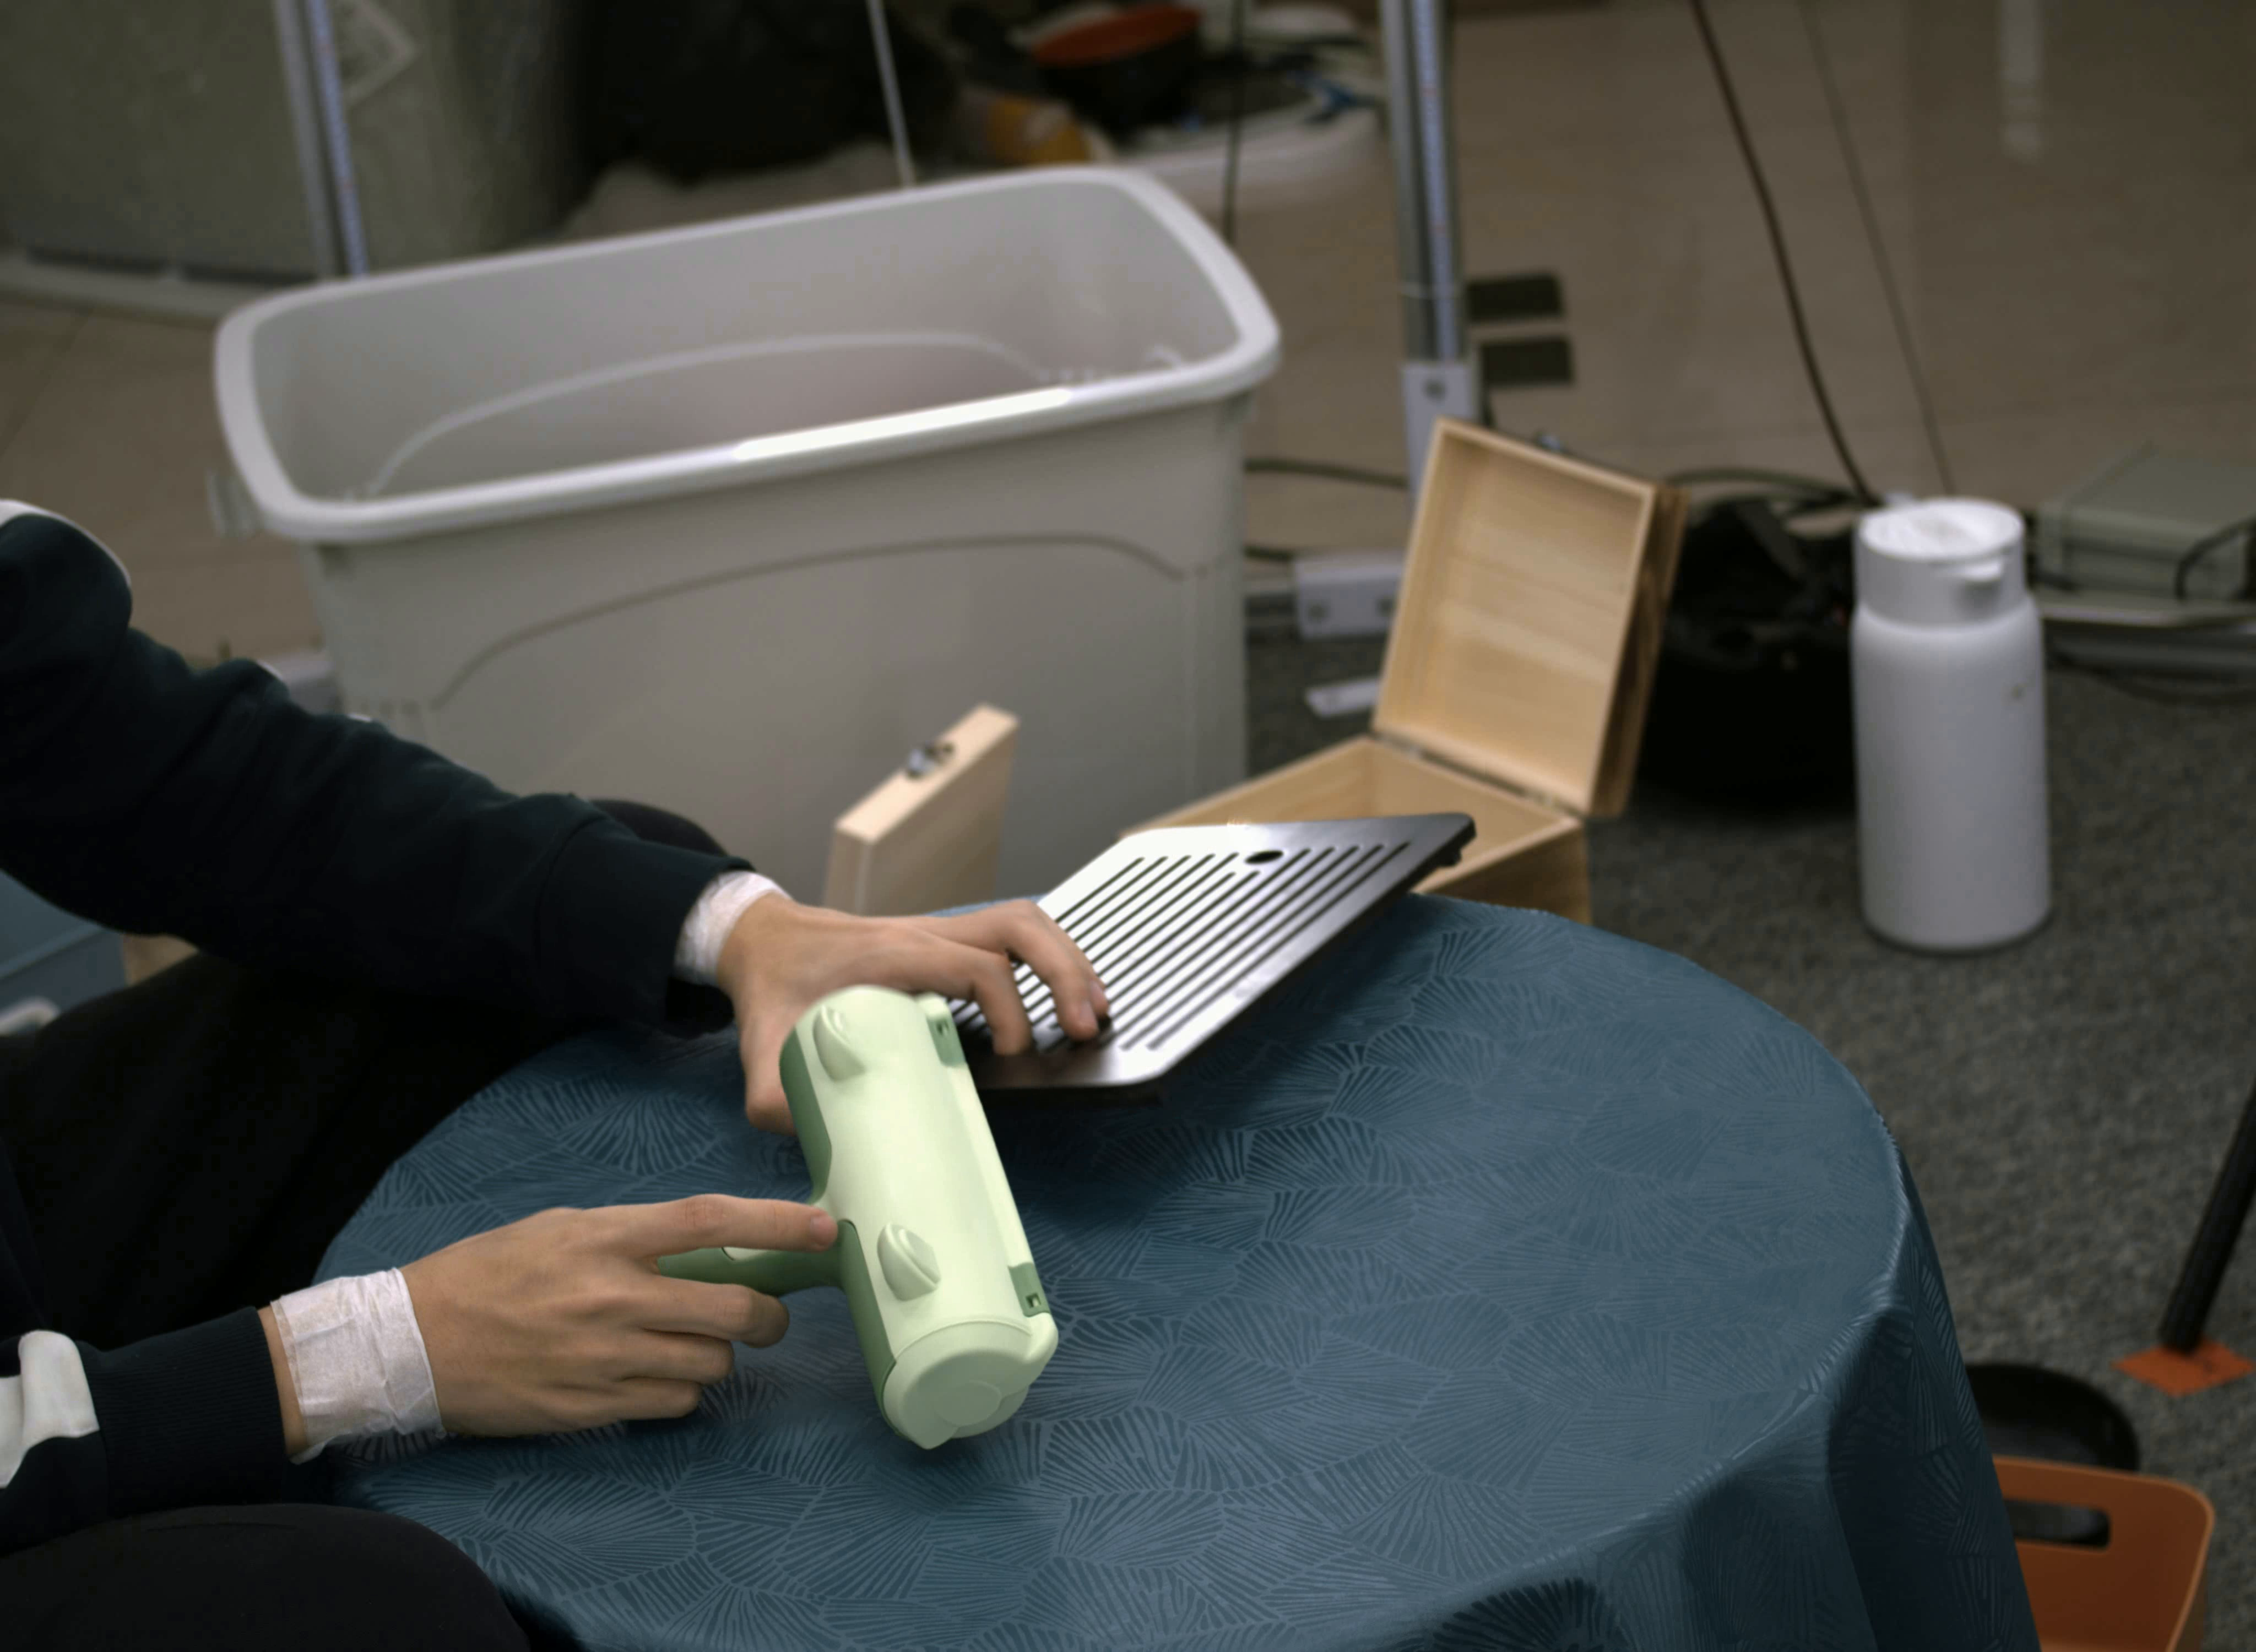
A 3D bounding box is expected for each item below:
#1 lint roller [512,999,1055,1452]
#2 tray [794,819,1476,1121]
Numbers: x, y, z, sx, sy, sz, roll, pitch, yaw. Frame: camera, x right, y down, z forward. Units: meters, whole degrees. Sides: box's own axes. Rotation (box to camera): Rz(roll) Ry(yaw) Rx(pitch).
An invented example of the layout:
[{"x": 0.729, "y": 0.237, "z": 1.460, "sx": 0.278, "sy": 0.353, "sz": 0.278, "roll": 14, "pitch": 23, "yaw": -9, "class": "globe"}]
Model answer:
[{"x": -0.134, "y": 0.146, "z": 2.021, "sx": 0.183, "sy": 0.084, "sz": 0.195, "roll": -12, "pitch": 40, "yaw": -7, "class": "lint roller"}, {"x": 0.007, "y": 0.058, "z": 2.269, "sx": 0.170, "sy": 0.019, "sz": 0.302, "roll": -2, "pitch": 19, "yaw": 30, "class": "tray"}]
